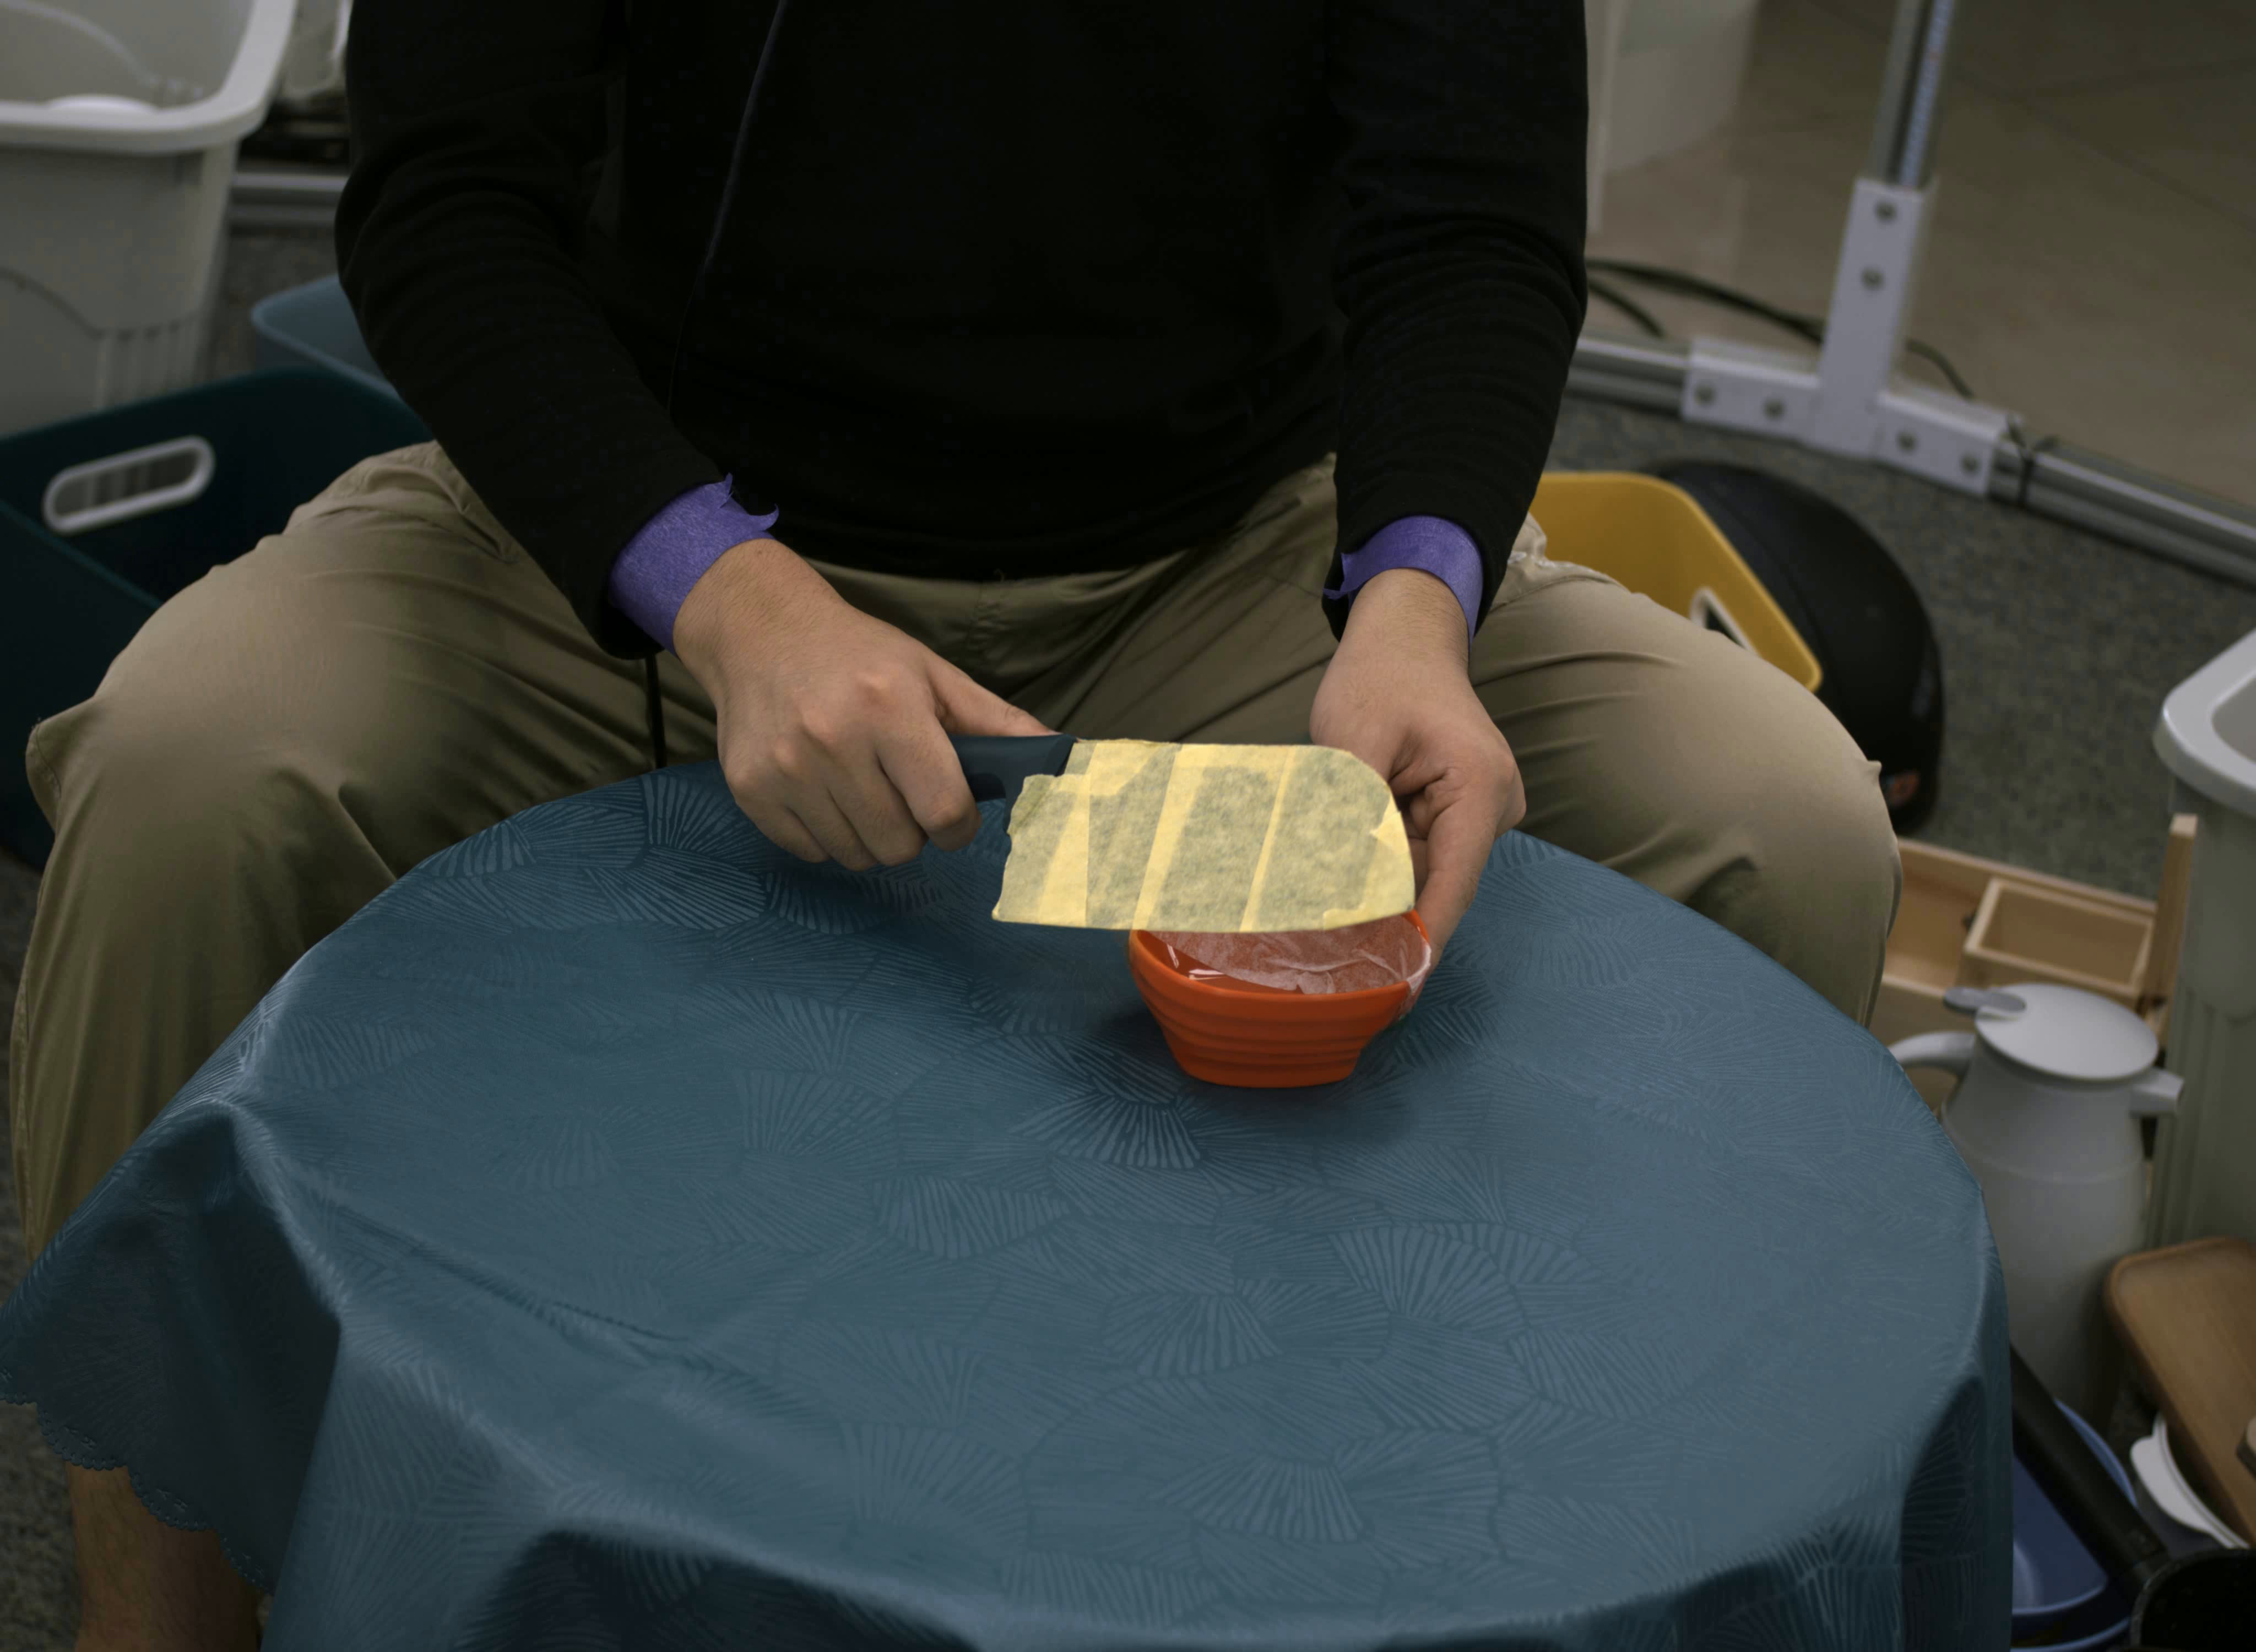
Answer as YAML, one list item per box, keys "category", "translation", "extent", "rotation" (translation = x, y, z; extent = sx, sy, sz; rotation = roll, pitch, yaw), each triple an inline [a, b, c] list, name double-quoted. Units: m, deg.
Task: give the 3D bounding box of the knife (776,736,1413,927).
- category: "knife"
  translation: [-0.017, 0.000, 1.904]
  extent: [0.291, 0.027, 0.081]
  rotation: [3, 63, 38]

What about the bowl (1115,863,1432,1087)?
- category: "bowl"
  translation: [0.049, 0.054, 1.895]
  extent: [0.118, 0.051, 0.119]
  rotation: [4, 28, -3]
